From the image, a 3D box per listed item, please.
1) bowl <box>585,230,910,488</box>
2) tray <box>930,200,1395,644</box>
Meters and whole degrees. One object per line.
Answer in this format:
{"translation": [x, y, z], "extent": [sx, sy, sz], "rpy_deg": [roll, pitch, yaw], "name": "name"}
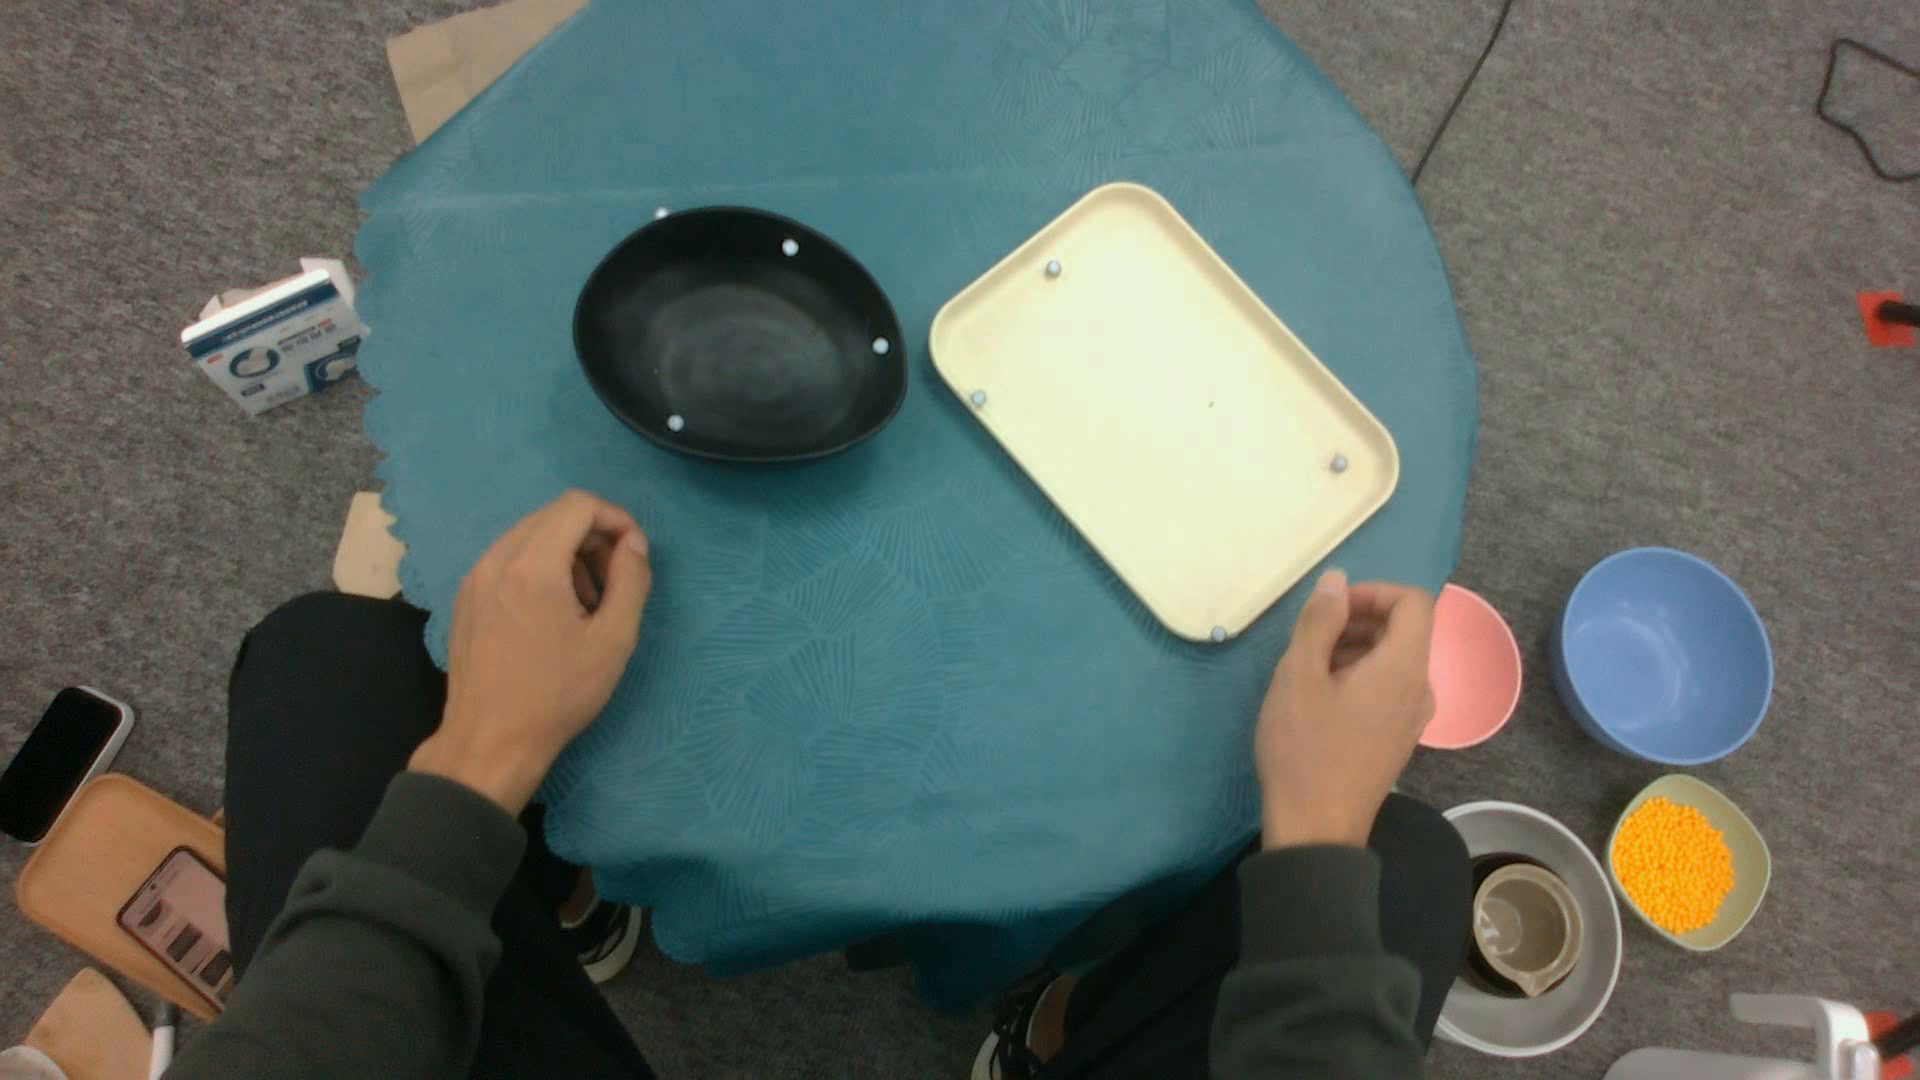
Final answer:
{"translation": [-0.110, -0.088, 0.734], "extent": [0.170, 0.066, 0.138], "rpy_deg": [13, 73, -2], "name": "bowl"}
{"translation": [0.112, -0.070, 0.770], "extent": [0.172, 0.017, 0.240], "rpy_deg": [-40, 80, -15], "name": "tray"}
